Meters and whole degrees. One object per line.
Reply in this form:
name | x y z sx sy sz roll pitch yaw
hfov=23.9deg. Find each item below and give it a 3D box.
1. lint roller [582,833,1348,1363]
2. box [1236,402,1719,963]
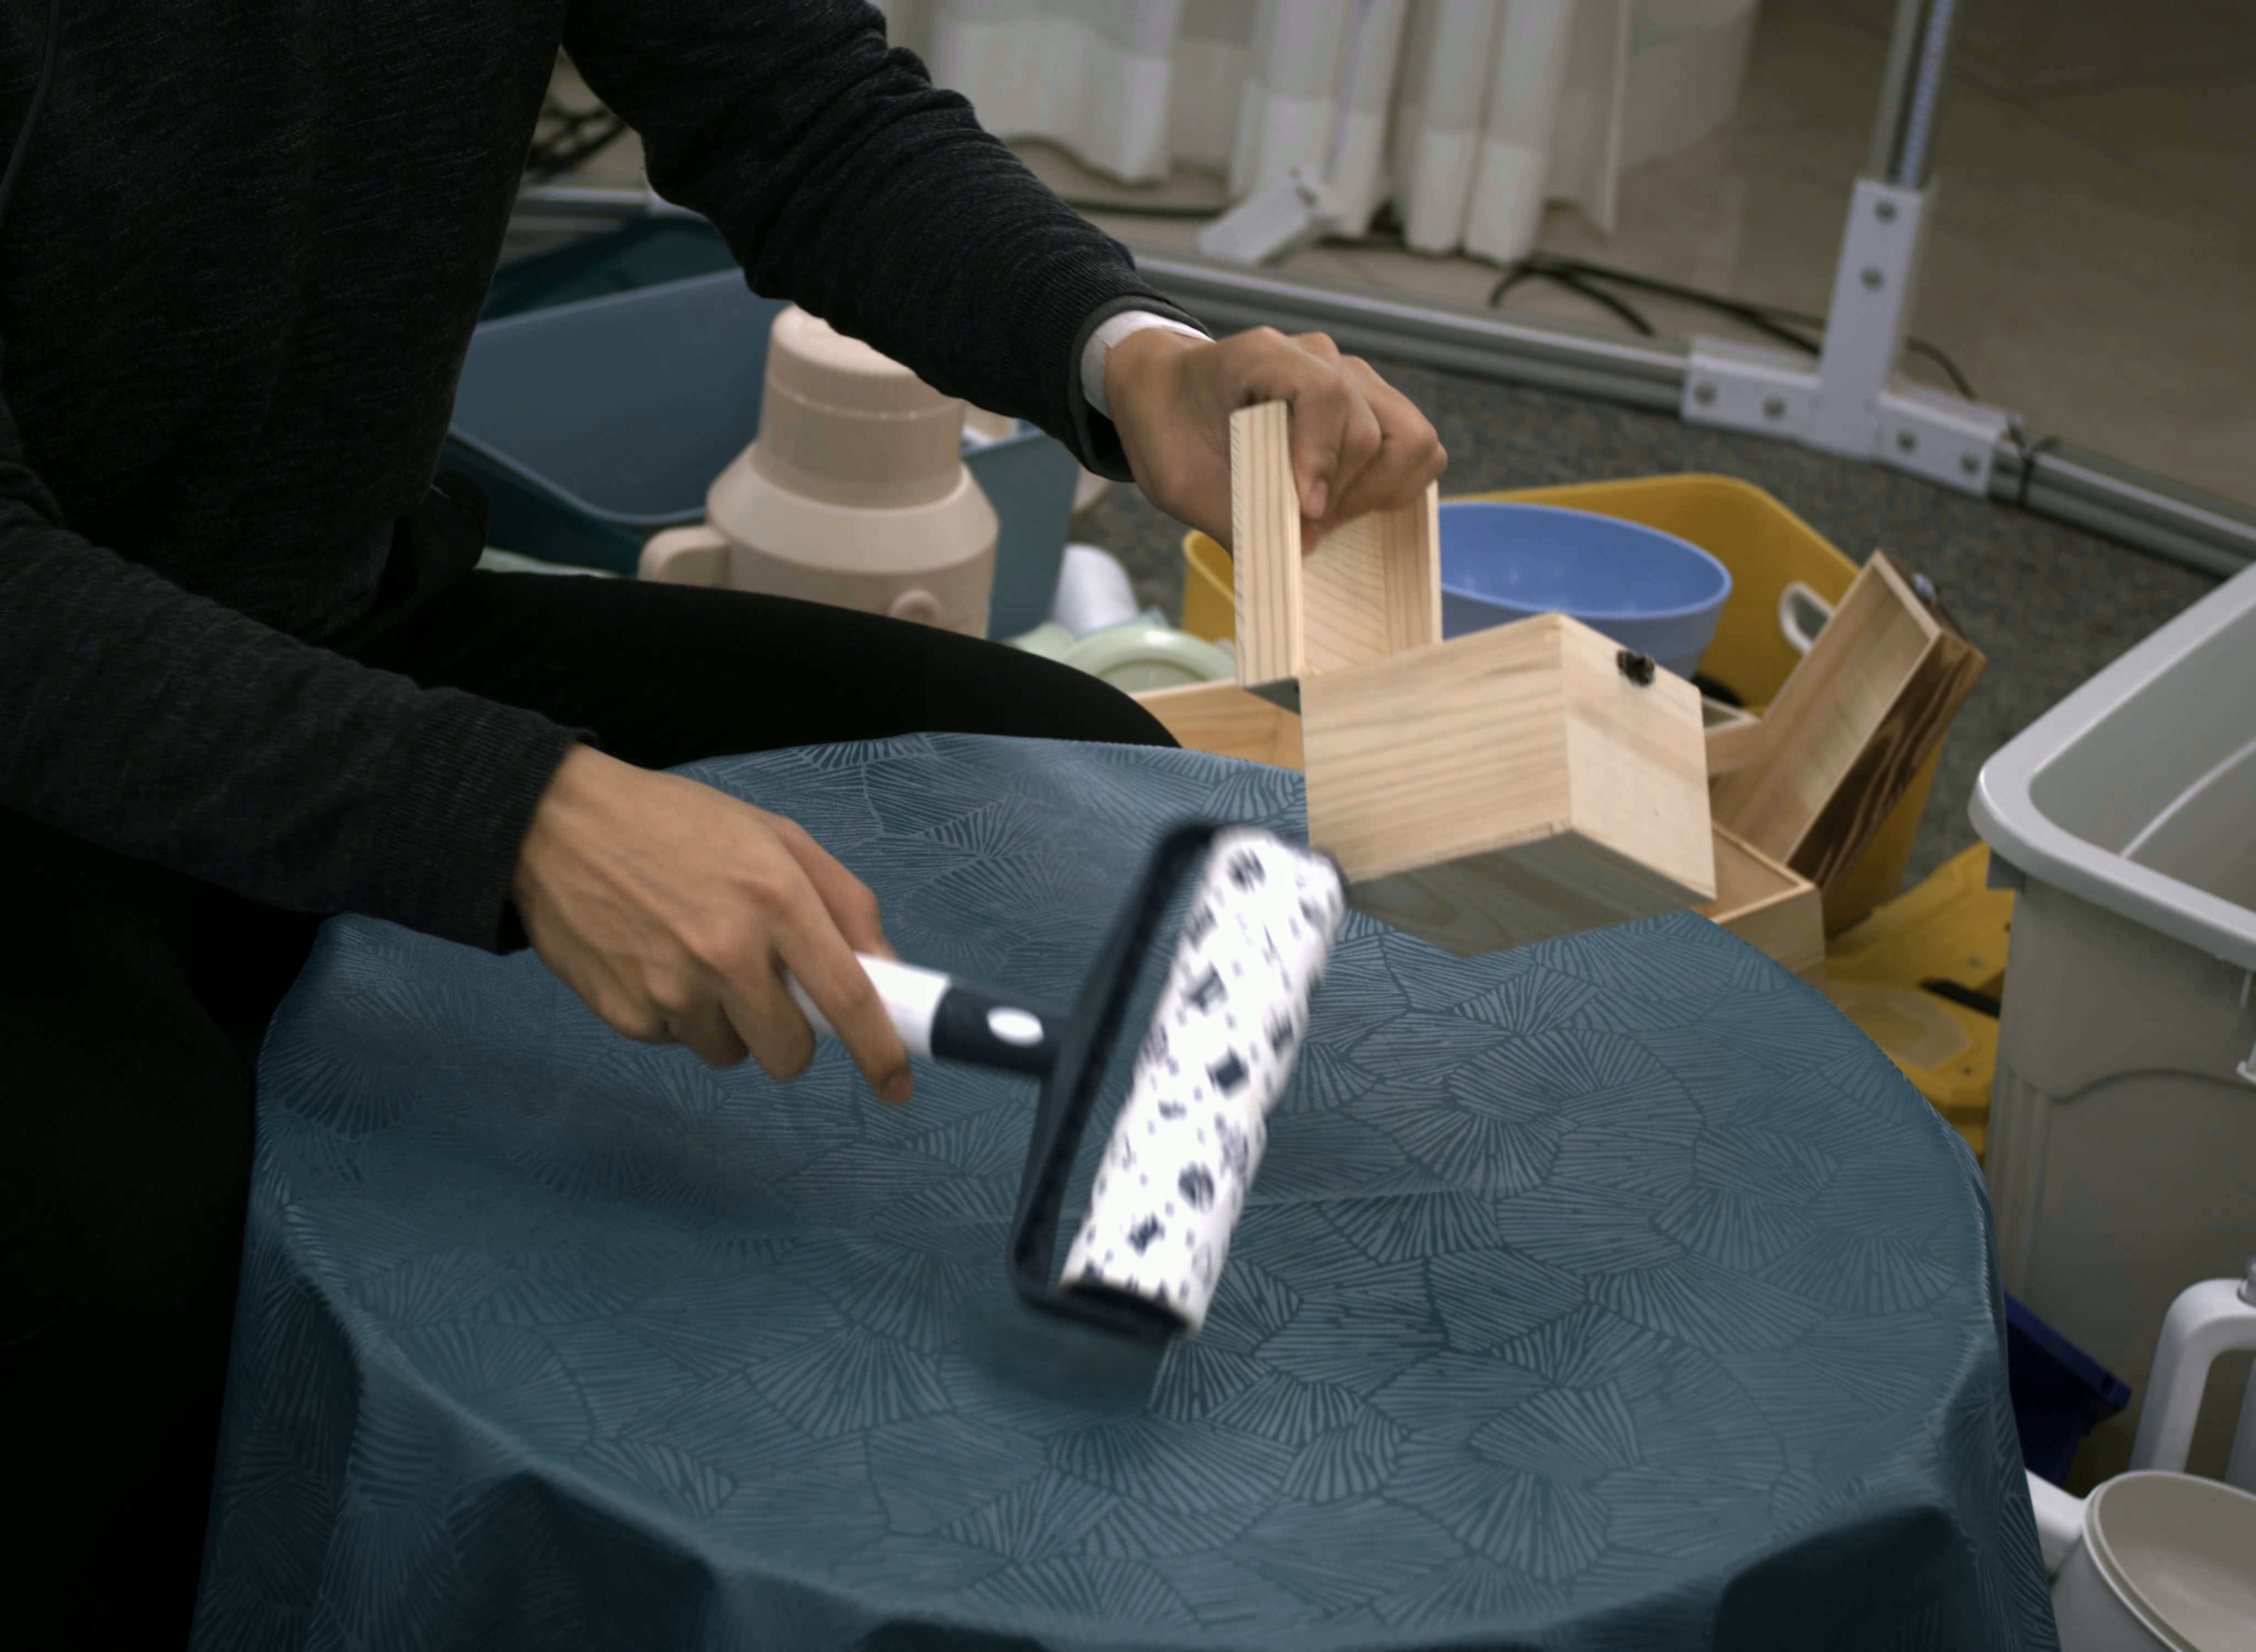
lint roller | -0.069 0.065 1.739 0.247 0.050 0.177 14 67 17
box | 0.120 -0.059 1.821 0.134 0.186 0.101 -15 -23 32
